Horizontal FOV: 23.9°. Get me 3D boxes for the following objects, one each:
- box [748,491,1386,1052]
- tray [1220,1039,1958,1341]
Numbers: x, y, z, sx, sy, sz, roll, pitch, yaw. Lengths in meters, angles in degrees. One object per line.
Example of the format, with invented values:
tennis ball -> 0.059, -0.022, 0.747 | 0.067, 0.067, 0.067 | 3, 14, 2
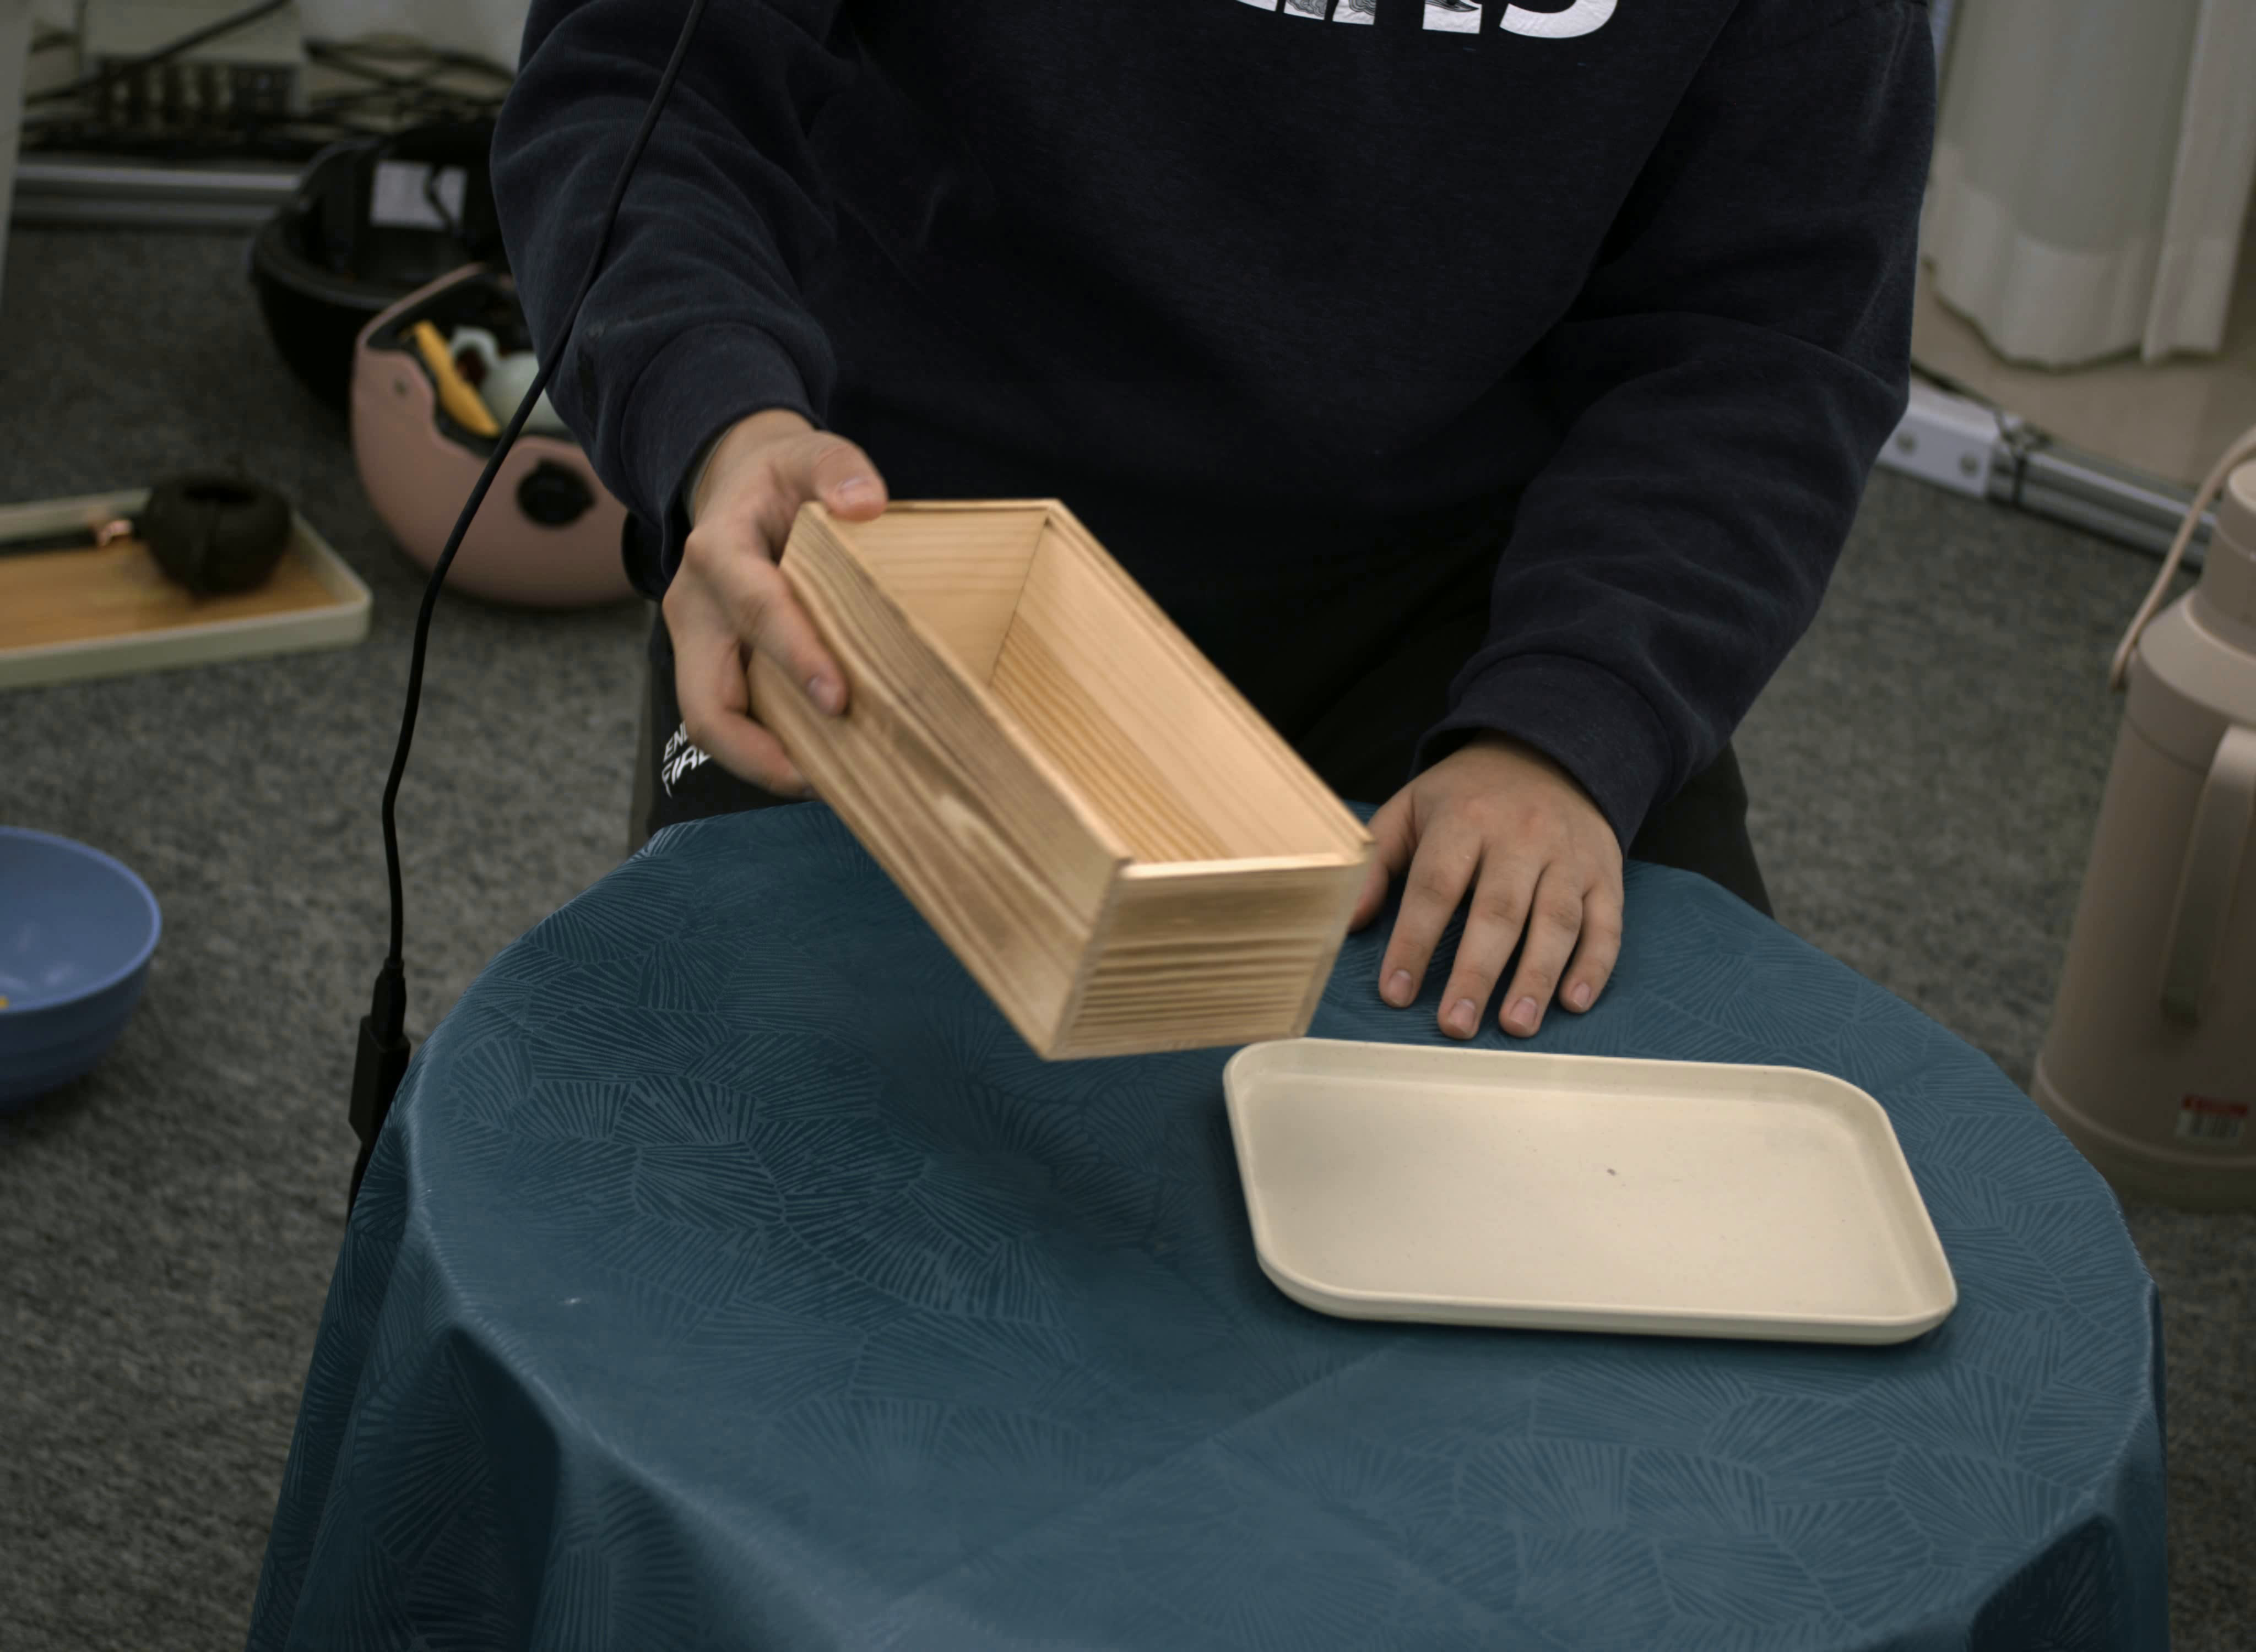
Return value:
box -> -0.024, -0.022, 1.767 | 0.107, 0.080, 0.213 | -3, 36, -37
tray -> 0.154, 0.126, 1.820 | 0.238, 0.017, 0.172 | 3, 26, -7
